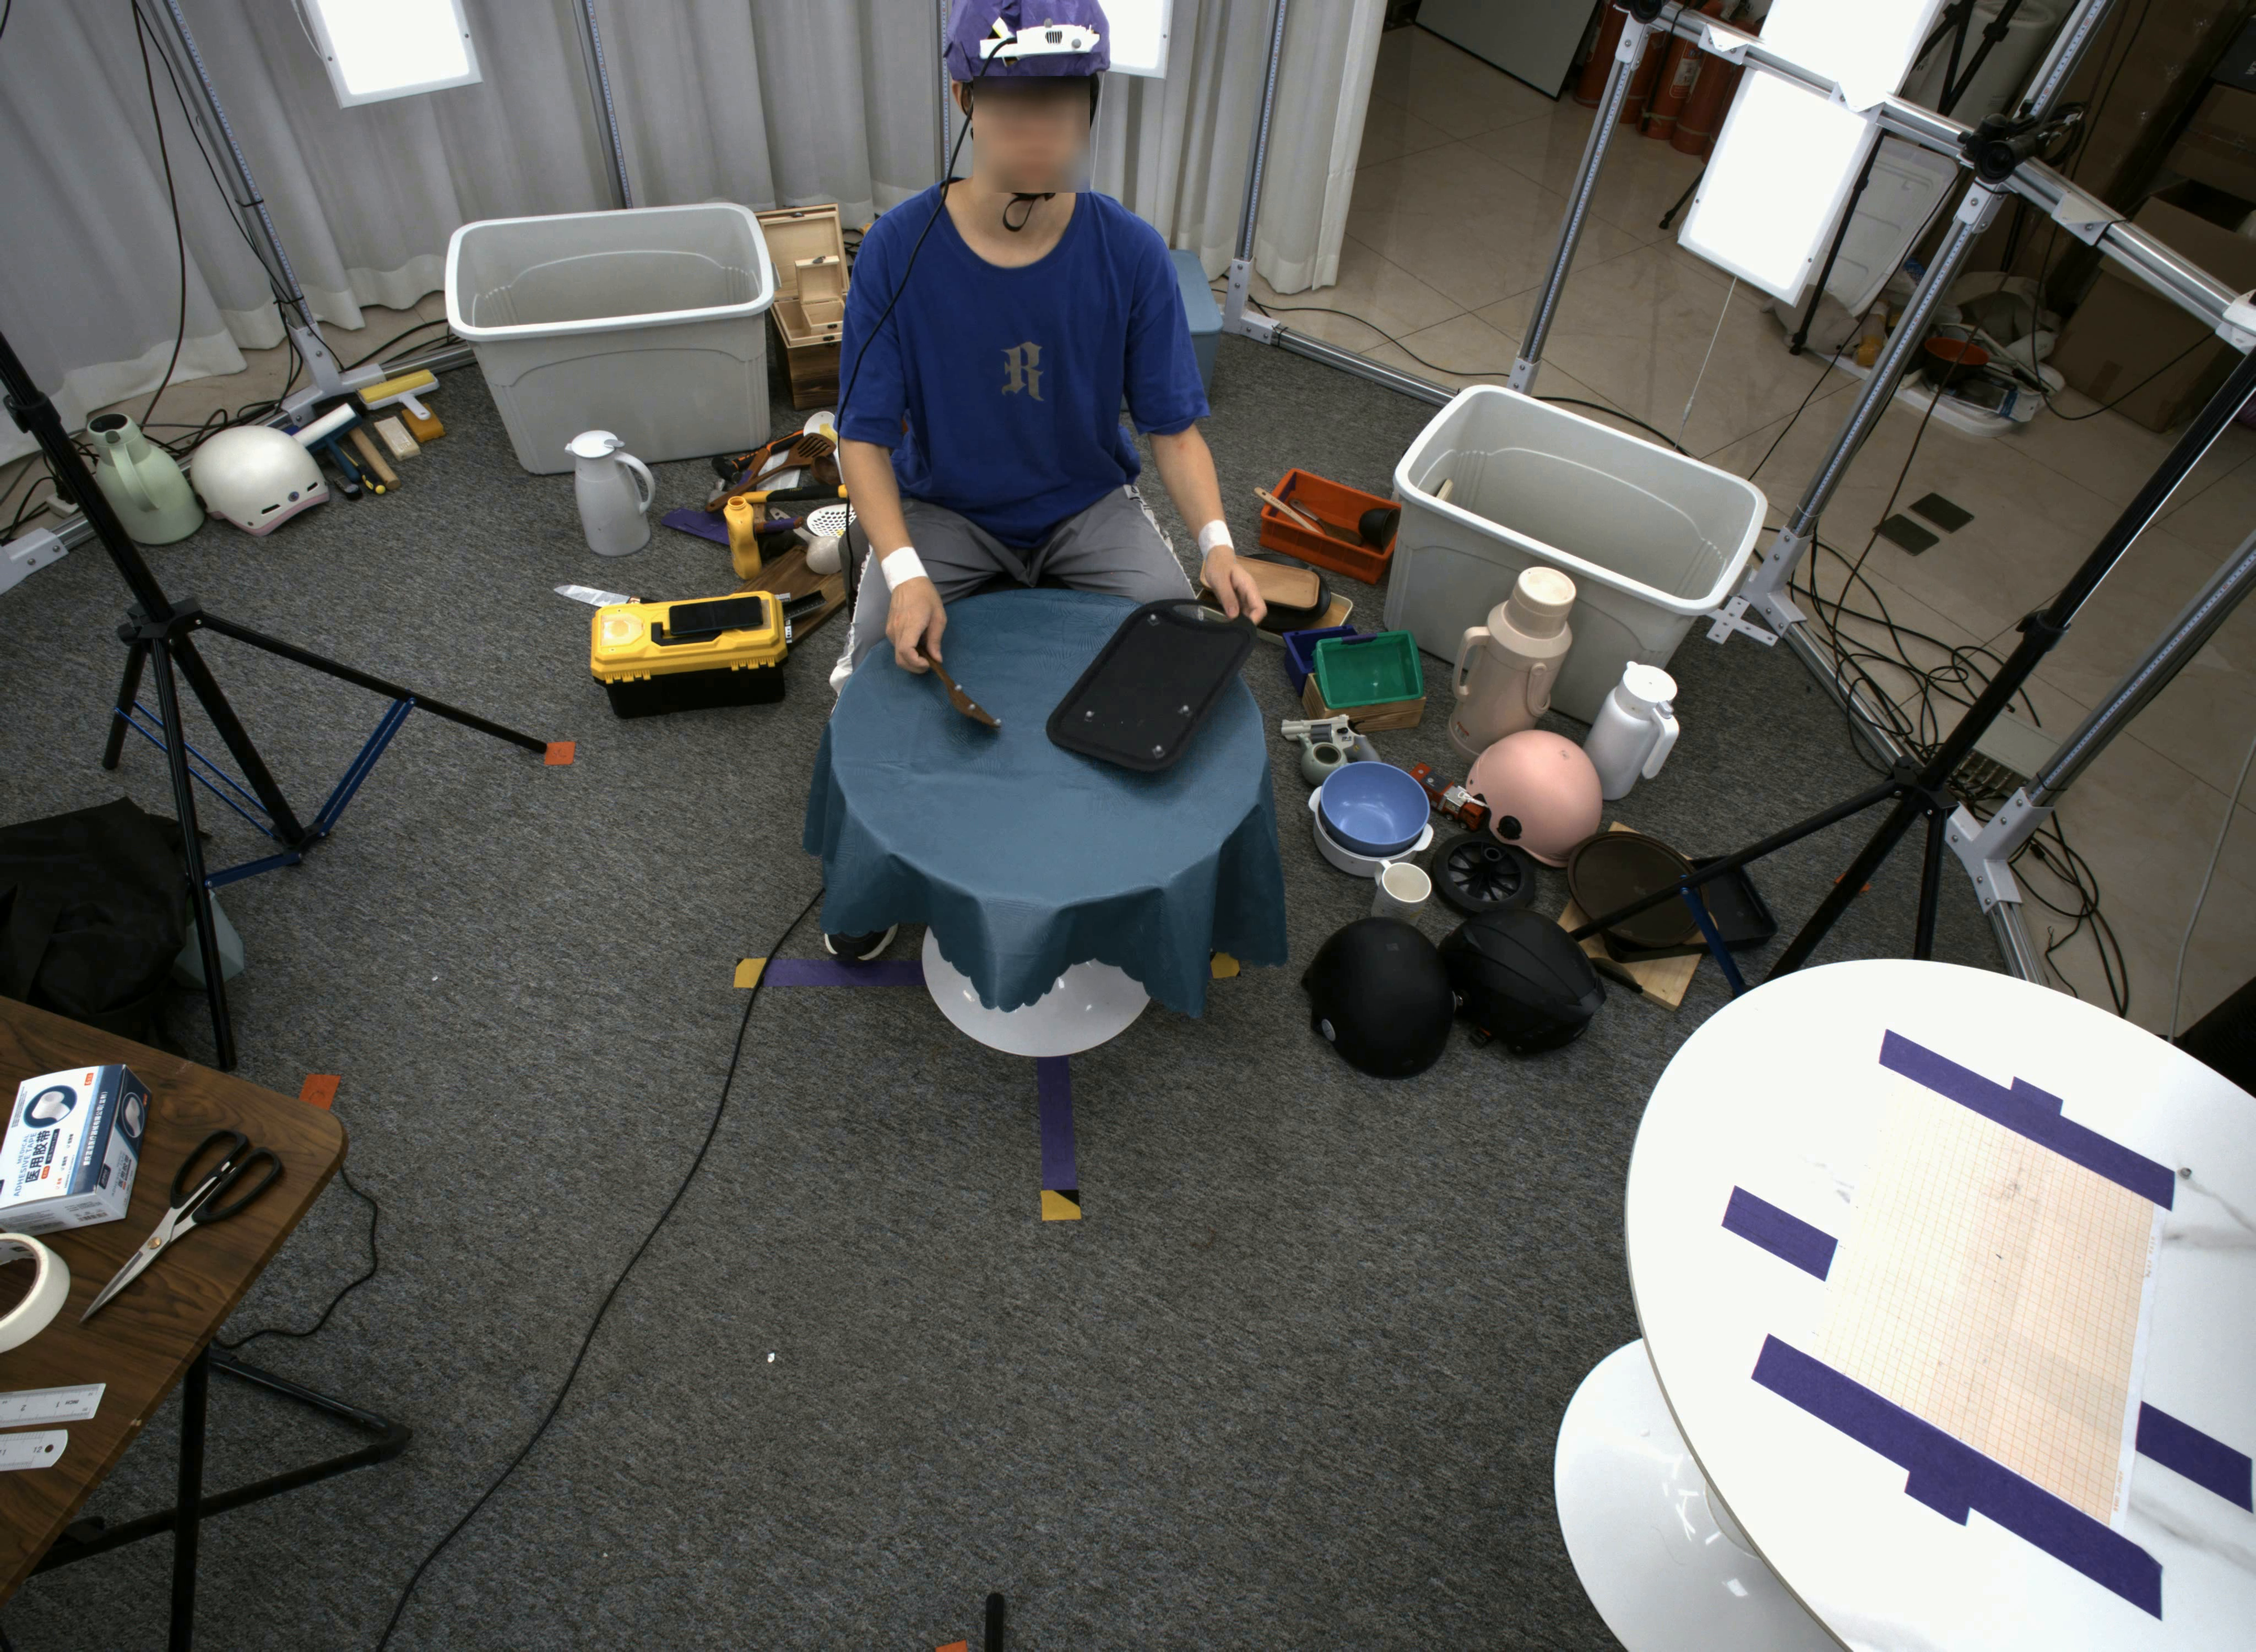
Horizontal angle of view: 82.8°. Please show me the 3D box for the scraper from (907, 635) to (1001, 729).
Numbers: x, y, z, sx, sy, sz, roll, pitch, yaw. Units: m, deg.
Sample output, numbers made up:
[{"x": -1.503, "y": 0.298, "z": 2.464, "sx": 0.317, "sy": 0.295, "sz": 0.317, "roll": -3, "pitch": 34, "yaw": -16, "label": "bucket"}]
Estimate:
[{"x": -0.251, "y": -0.202, "z": 1.794, "sx": 0.075, "sy": 0.011, "sz": 0.215, "roll": 17, "pitch": 27, "yaw": -53, "label": "scraper"}]

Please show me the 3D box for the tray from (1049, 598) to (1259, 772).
[{"x": 0.041, "y": -0.212, "z": 1.811, "sx": 0.213, "sy": 0.009, "sz": 0.330, "roll": 20, "pitch": 57, "yaw": 26, "label": "tray"}]
